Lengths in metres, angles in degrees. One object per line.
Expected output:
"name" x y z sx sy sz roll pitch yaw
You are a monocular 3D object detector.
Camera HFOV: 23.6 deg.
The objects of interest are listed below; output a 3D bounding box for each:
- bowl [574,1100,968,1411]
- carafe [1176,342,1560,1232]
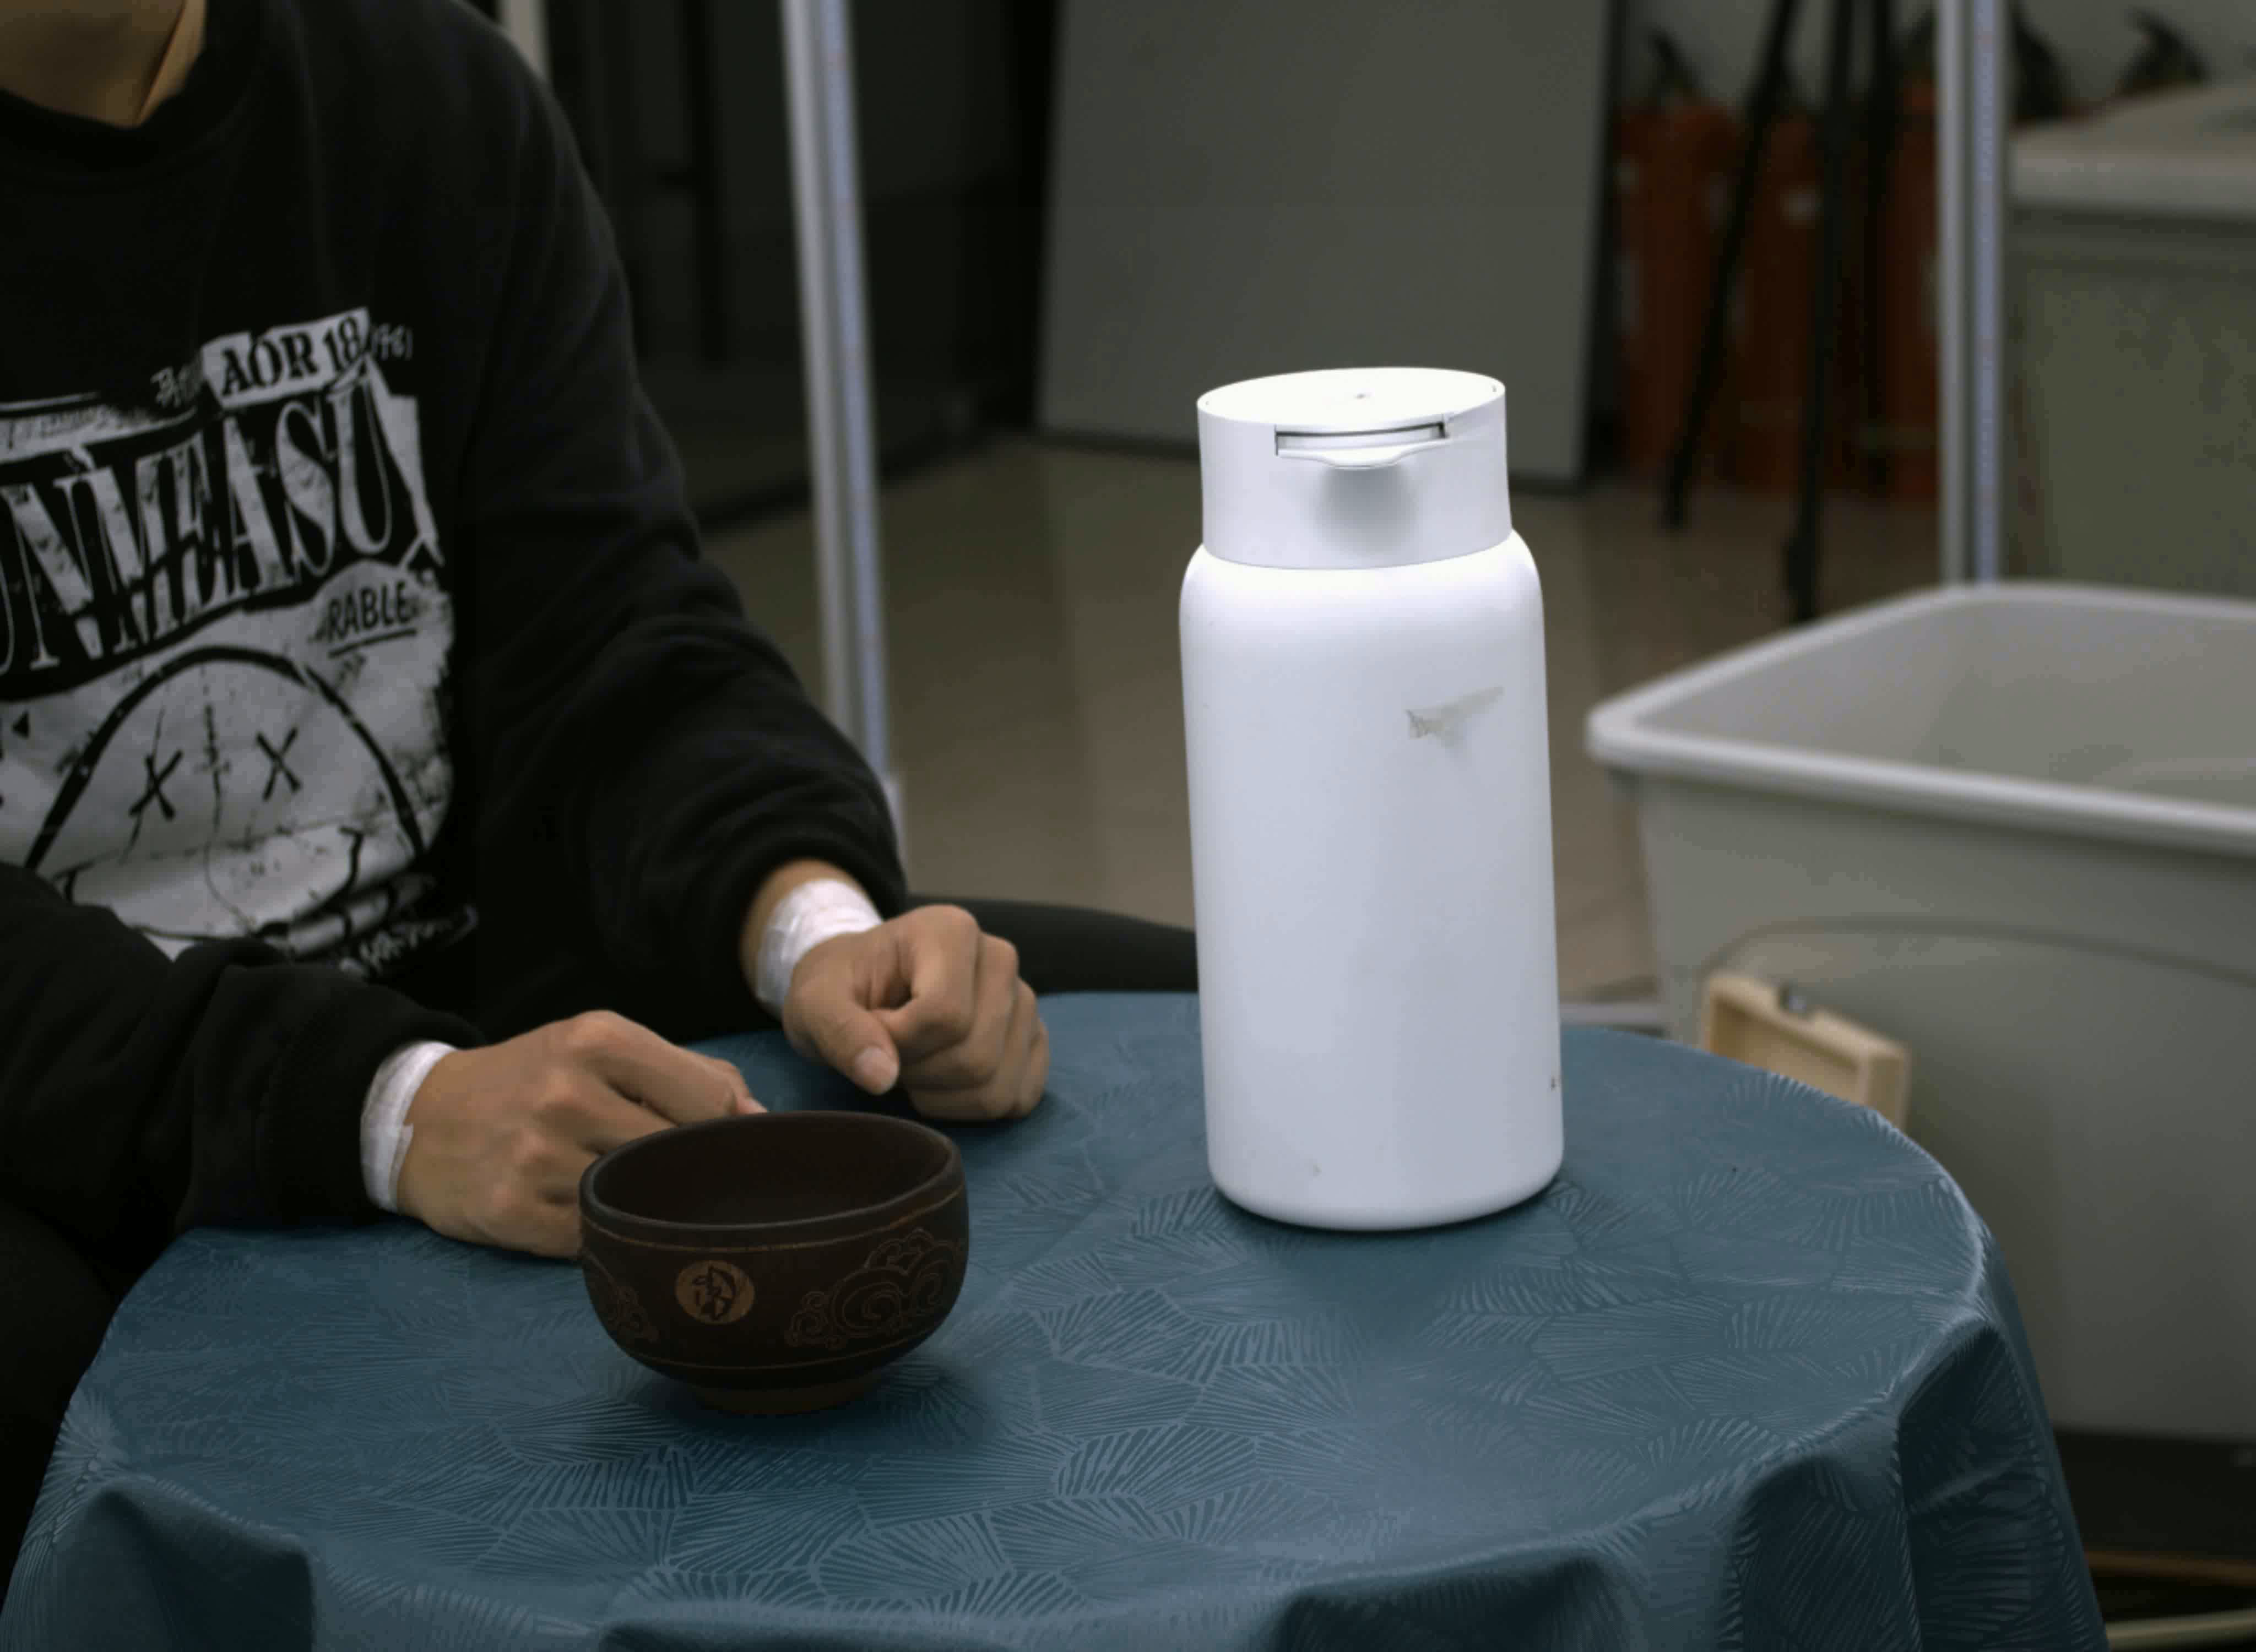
"bowl" -0.104 0.132 1.608 0.116 0.070 0.118 -4 13 0
"carafe" 0.074 -0.017 1.748 0.122 0.272 0.173 -6 14 -1
